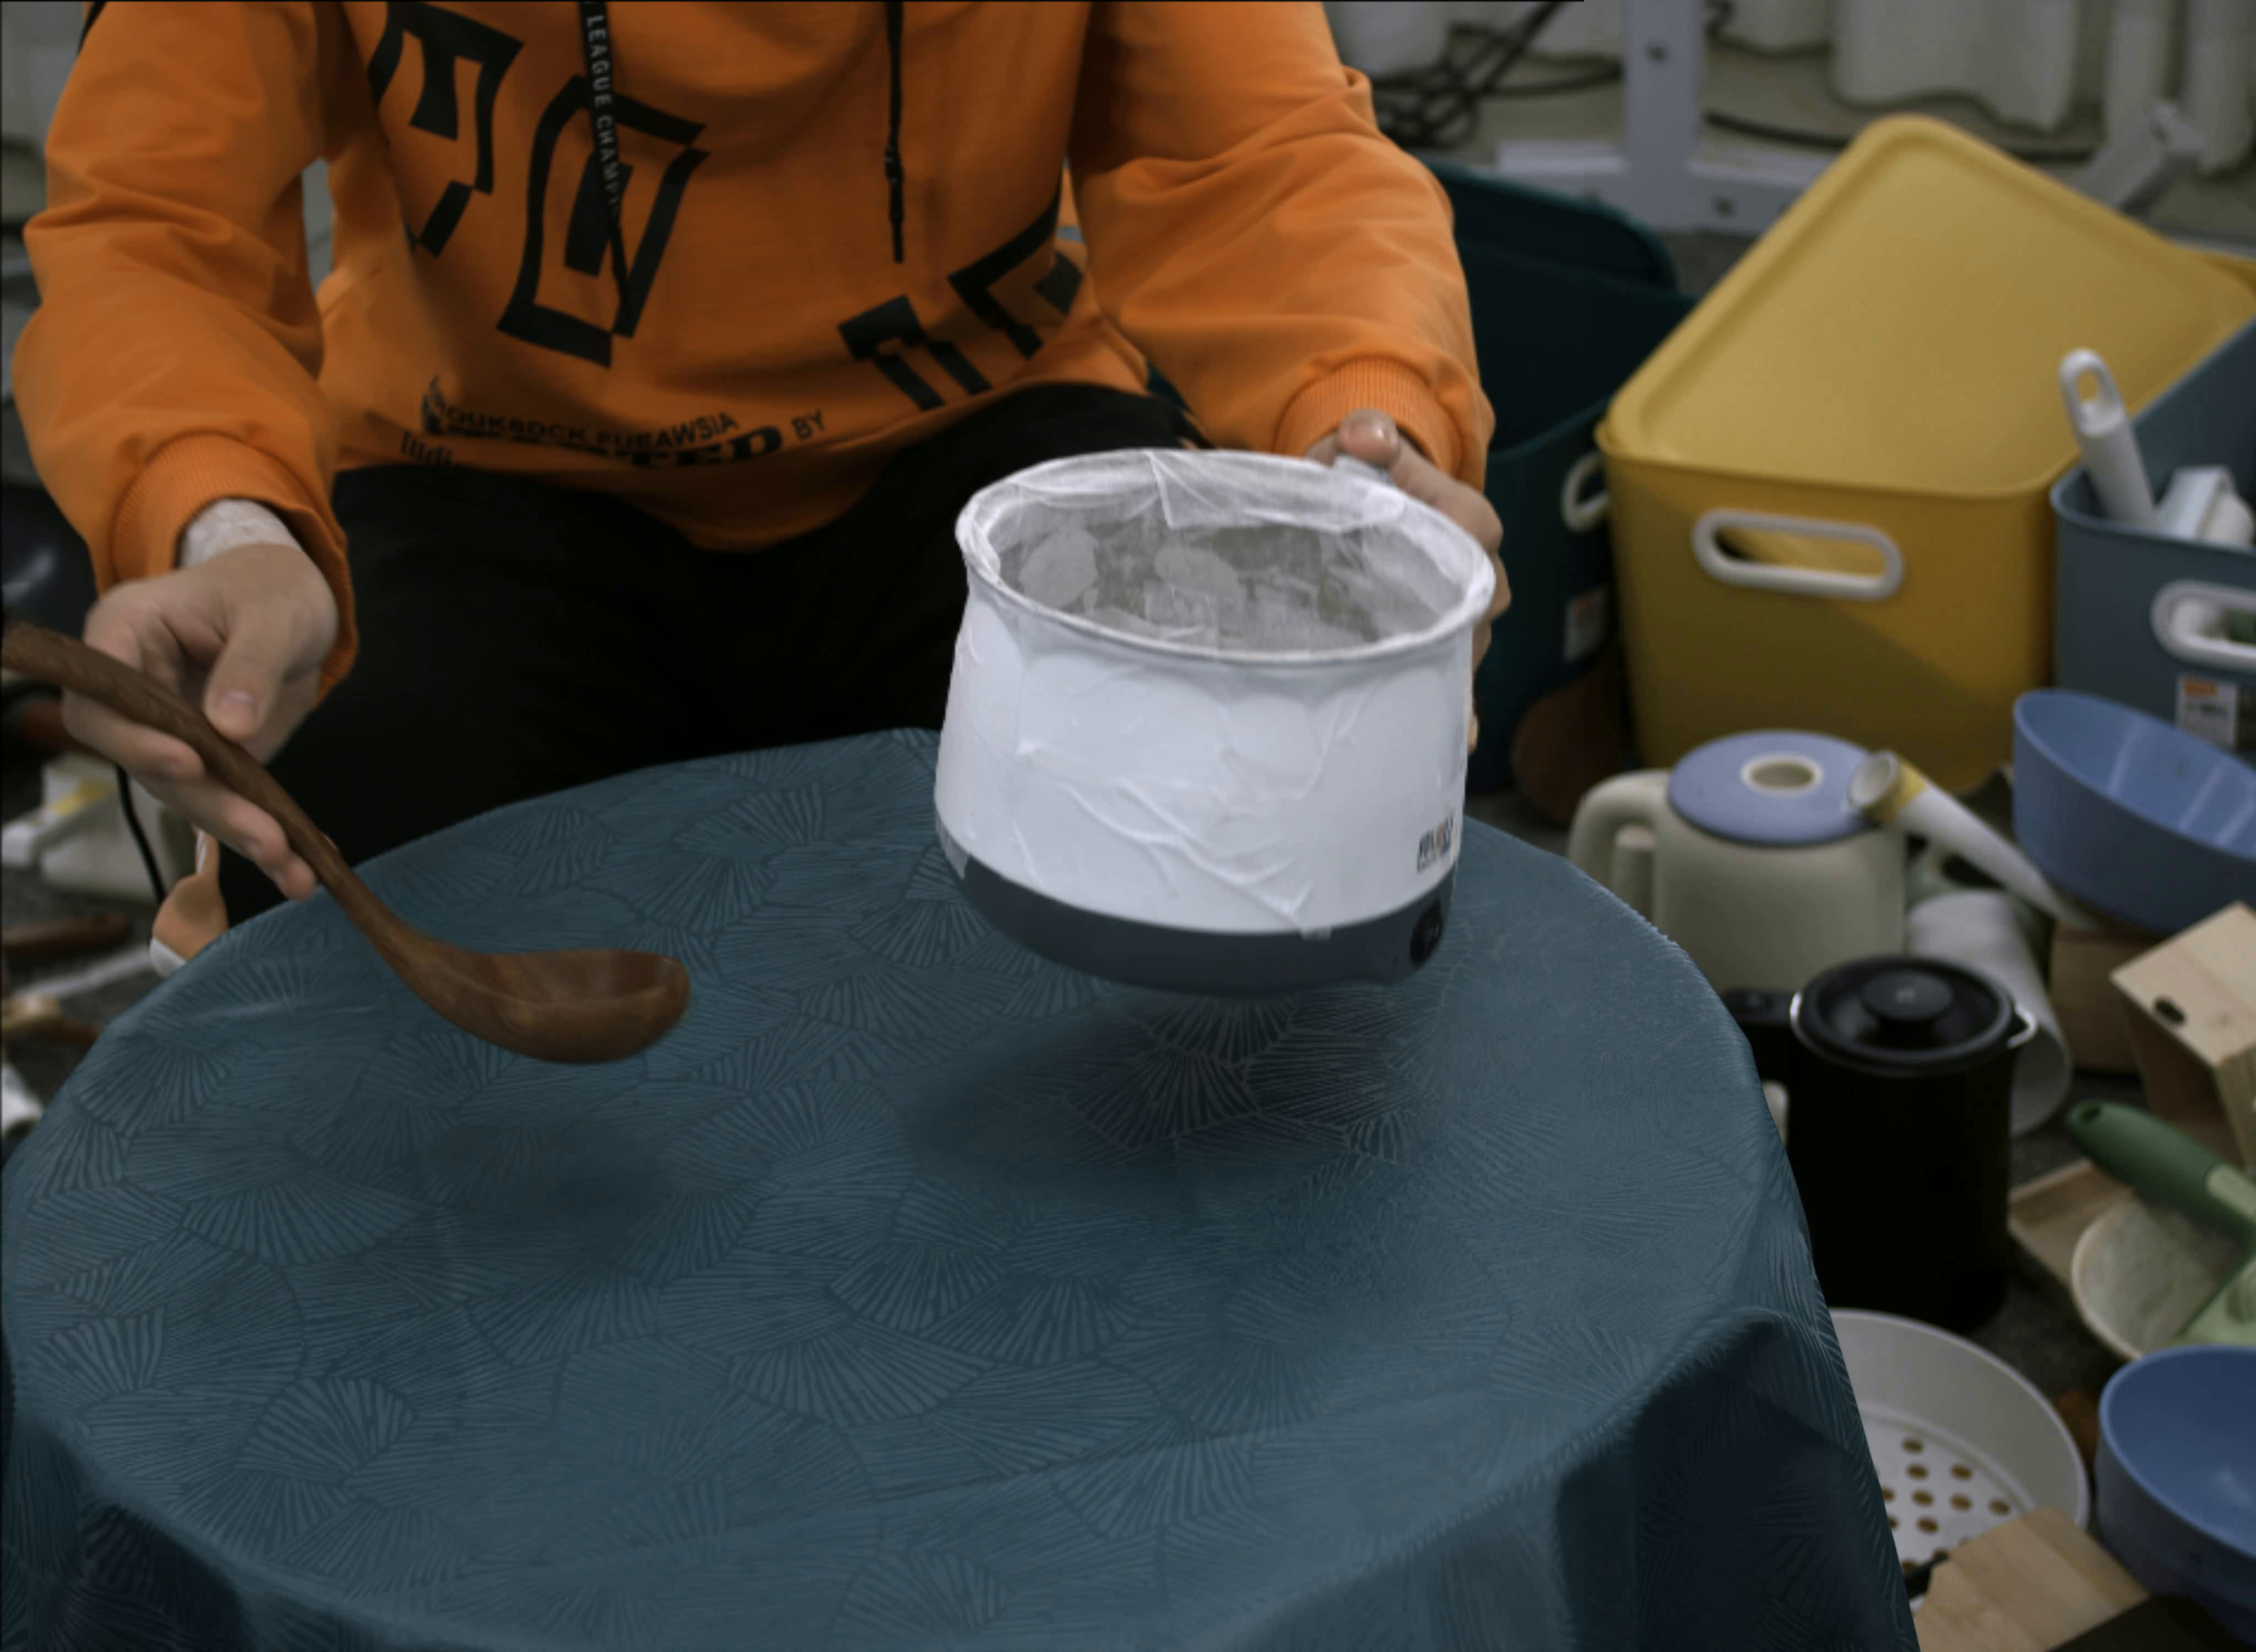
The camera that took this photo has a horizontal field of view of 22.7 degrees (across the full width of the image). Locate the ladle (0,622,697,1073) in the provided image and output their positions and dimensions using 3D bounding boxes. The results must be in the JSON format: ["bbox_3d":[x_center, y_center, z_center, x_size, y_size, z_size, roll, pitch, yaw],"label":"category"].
[{"bbox_3d":[-0.254,-0.001,1.832,0.259,0.065,0.076,39,1,-11],"label":"ladle"}]

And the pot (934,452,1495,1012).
[{"bbox_3d":[0.038,-0.041,1.888,0.178,0.135,0.237,17,26,21],"label":"pot"}]
